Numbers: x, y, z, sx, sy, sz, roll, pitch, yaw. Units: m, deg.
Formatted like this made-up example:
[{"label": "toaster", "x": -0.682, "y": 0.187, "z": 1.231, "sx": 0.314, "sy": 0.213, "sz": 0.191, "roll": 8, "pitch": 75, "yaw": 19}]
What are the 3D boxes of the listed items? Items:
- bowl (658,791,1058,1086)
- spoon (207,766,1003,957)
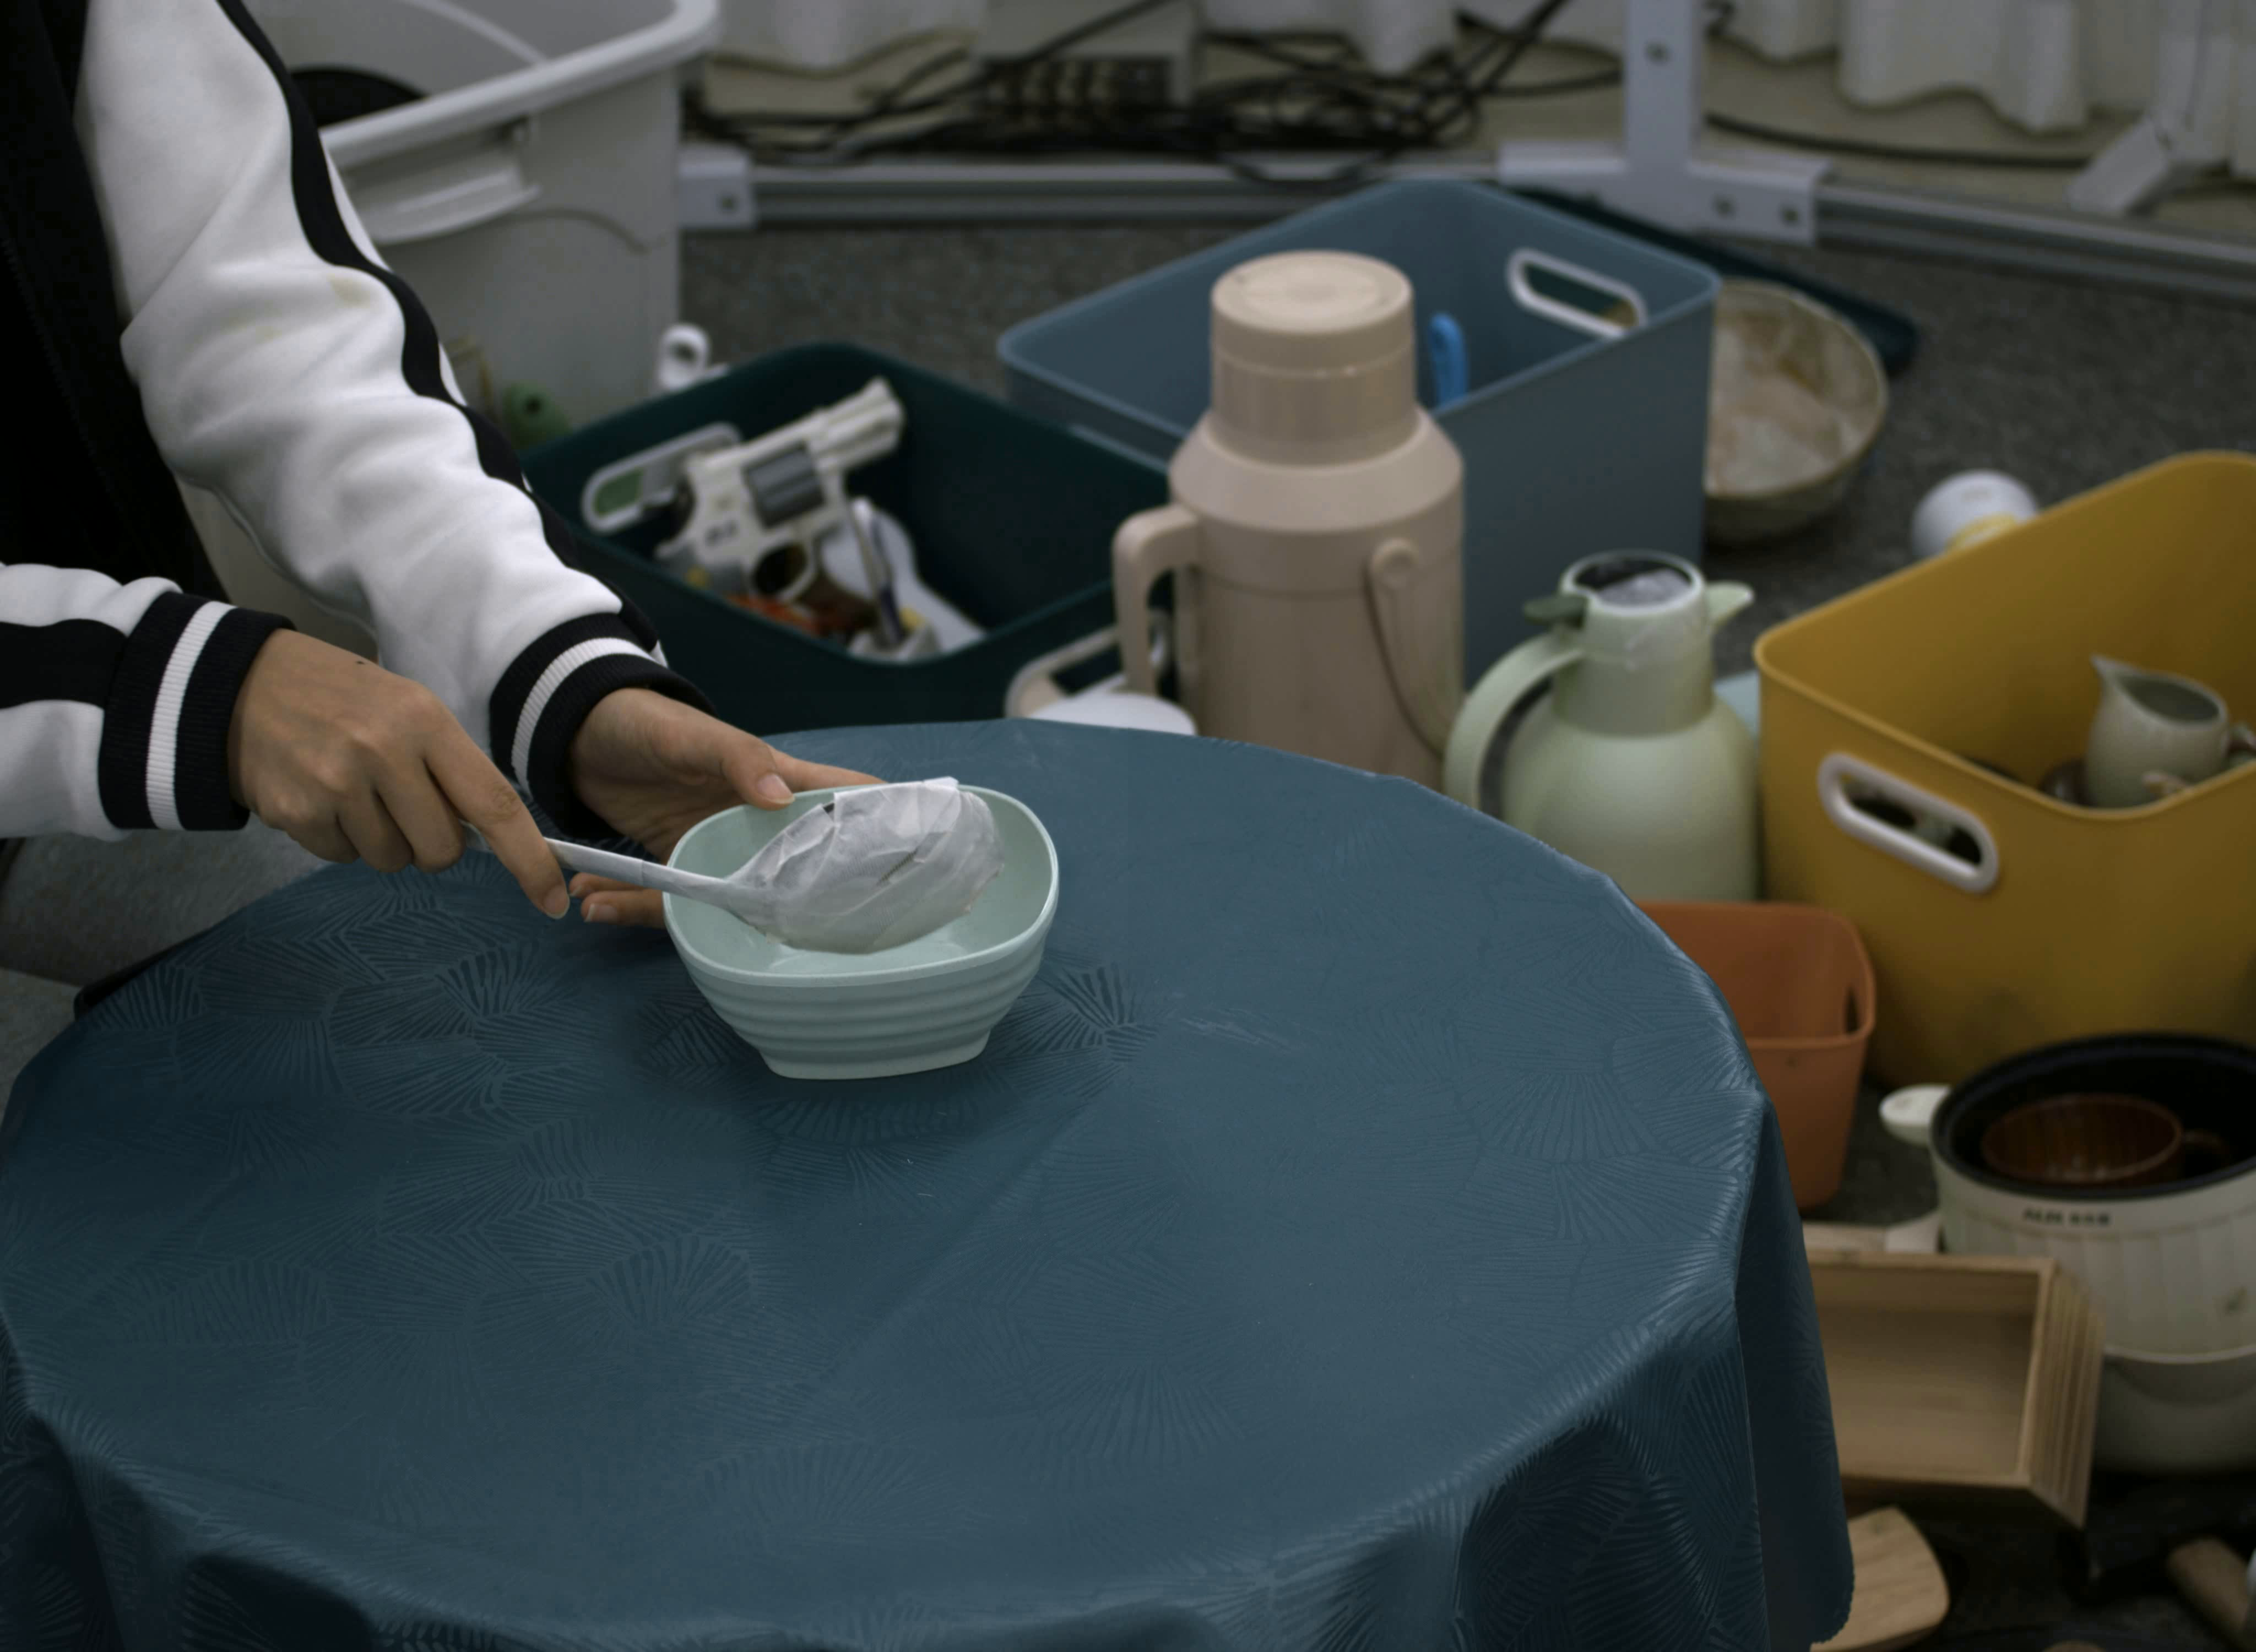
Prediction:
[{"label": "bowl", "x": -0.092, "y": 0.045, "z": 1.961, "sx": 0.151, "sy": 0.058, "sz": 0.154, "roll": -1, "pitch": 27, "yaw": 1}, {"label": "spoon", "x": -0.182, "y": -0.004, "z": 1.948, "sx": 0.276, "sy": 0.099, "sz": 0.060, "roll": 12, "pitch": 51, "yaw": 14}]
